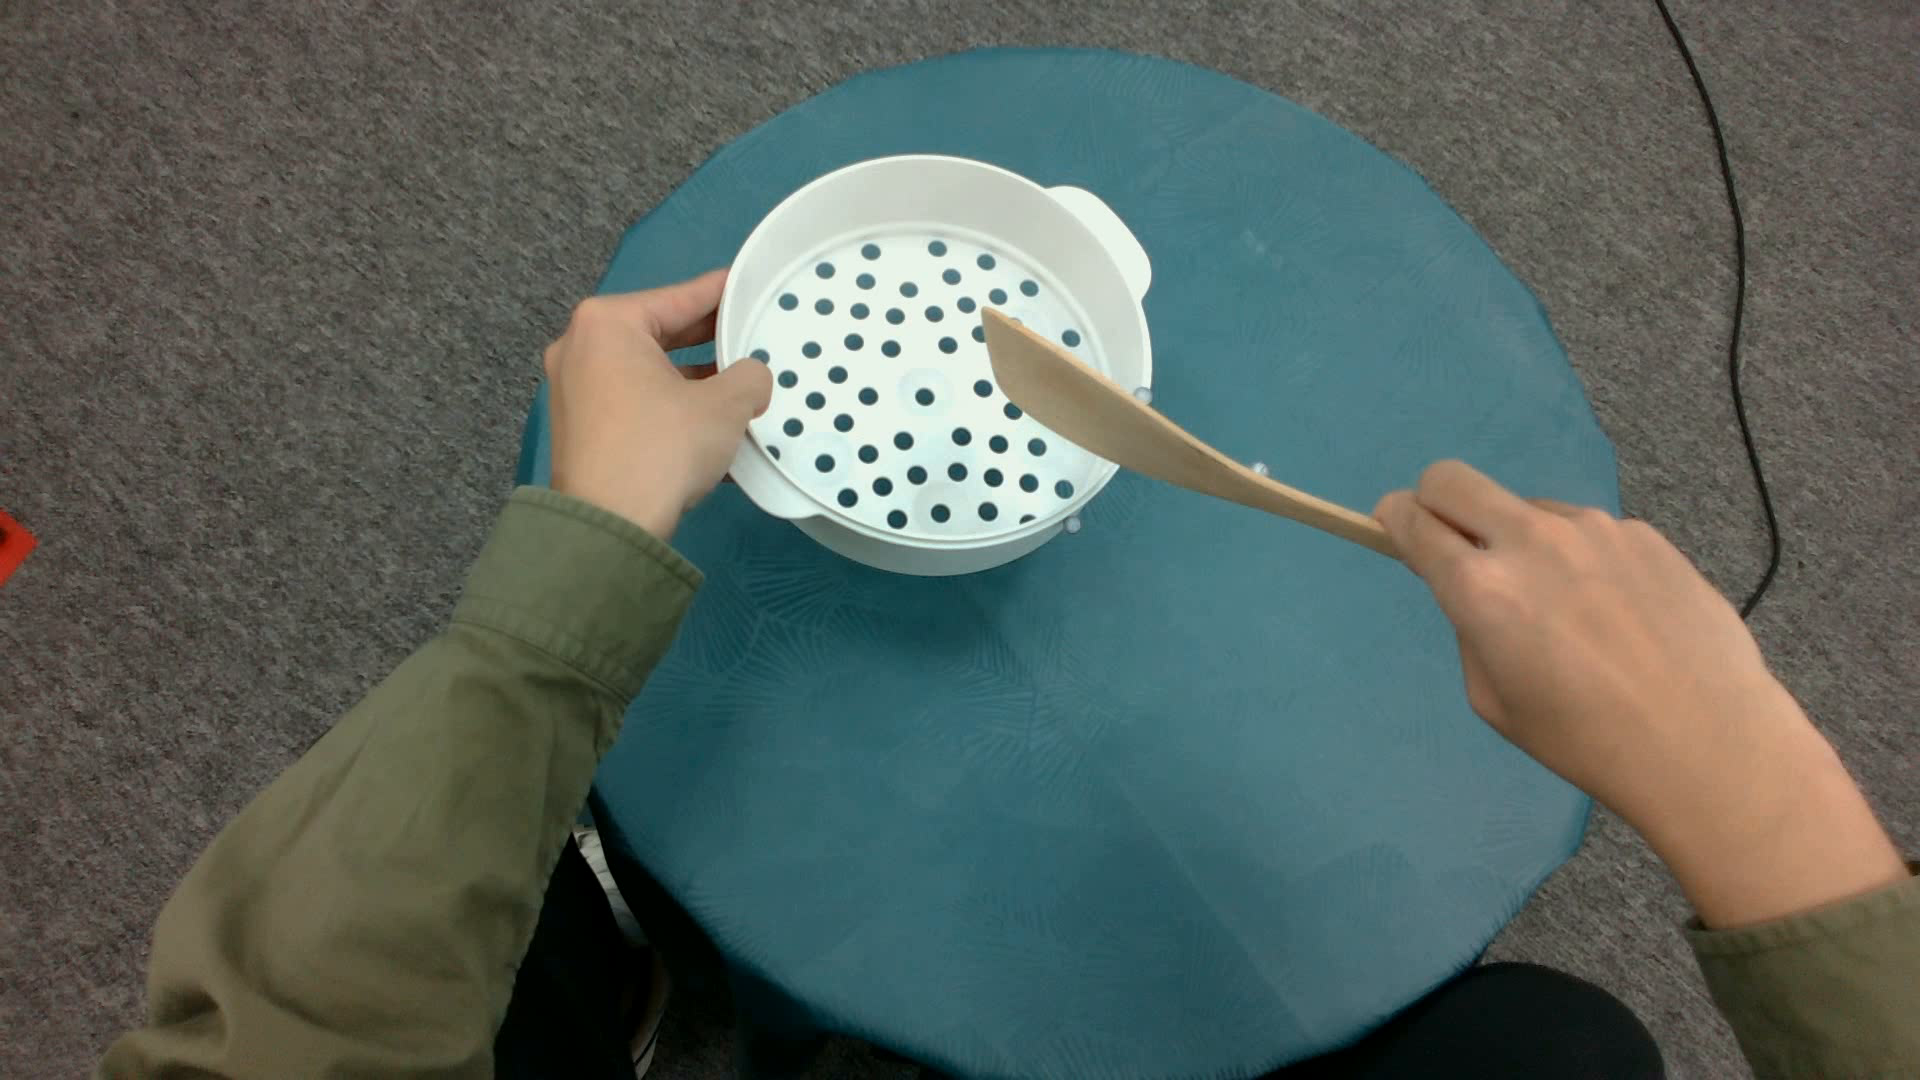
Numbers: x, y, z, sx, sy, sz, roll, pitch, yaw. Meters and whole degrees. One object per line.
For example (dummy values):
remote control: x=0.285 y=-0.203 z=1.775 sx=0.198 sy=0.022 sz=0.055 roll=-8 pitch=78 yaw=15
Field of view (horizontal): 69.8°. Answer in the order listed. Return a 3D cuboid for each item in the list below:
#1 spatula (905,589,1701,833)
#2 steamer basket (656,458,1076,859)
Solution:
spatula: x=0.114 y=0.068 z=0.553 sx=0.327 sy=0.080 sz=0.016 roll=9 pitch=58 yaw=30
steamer basket: x=-0.046 y=0.058 z=0.686 sx=0.202 sy=0.069 sz=0.231 roll=40 pitch=64 yaw=18
